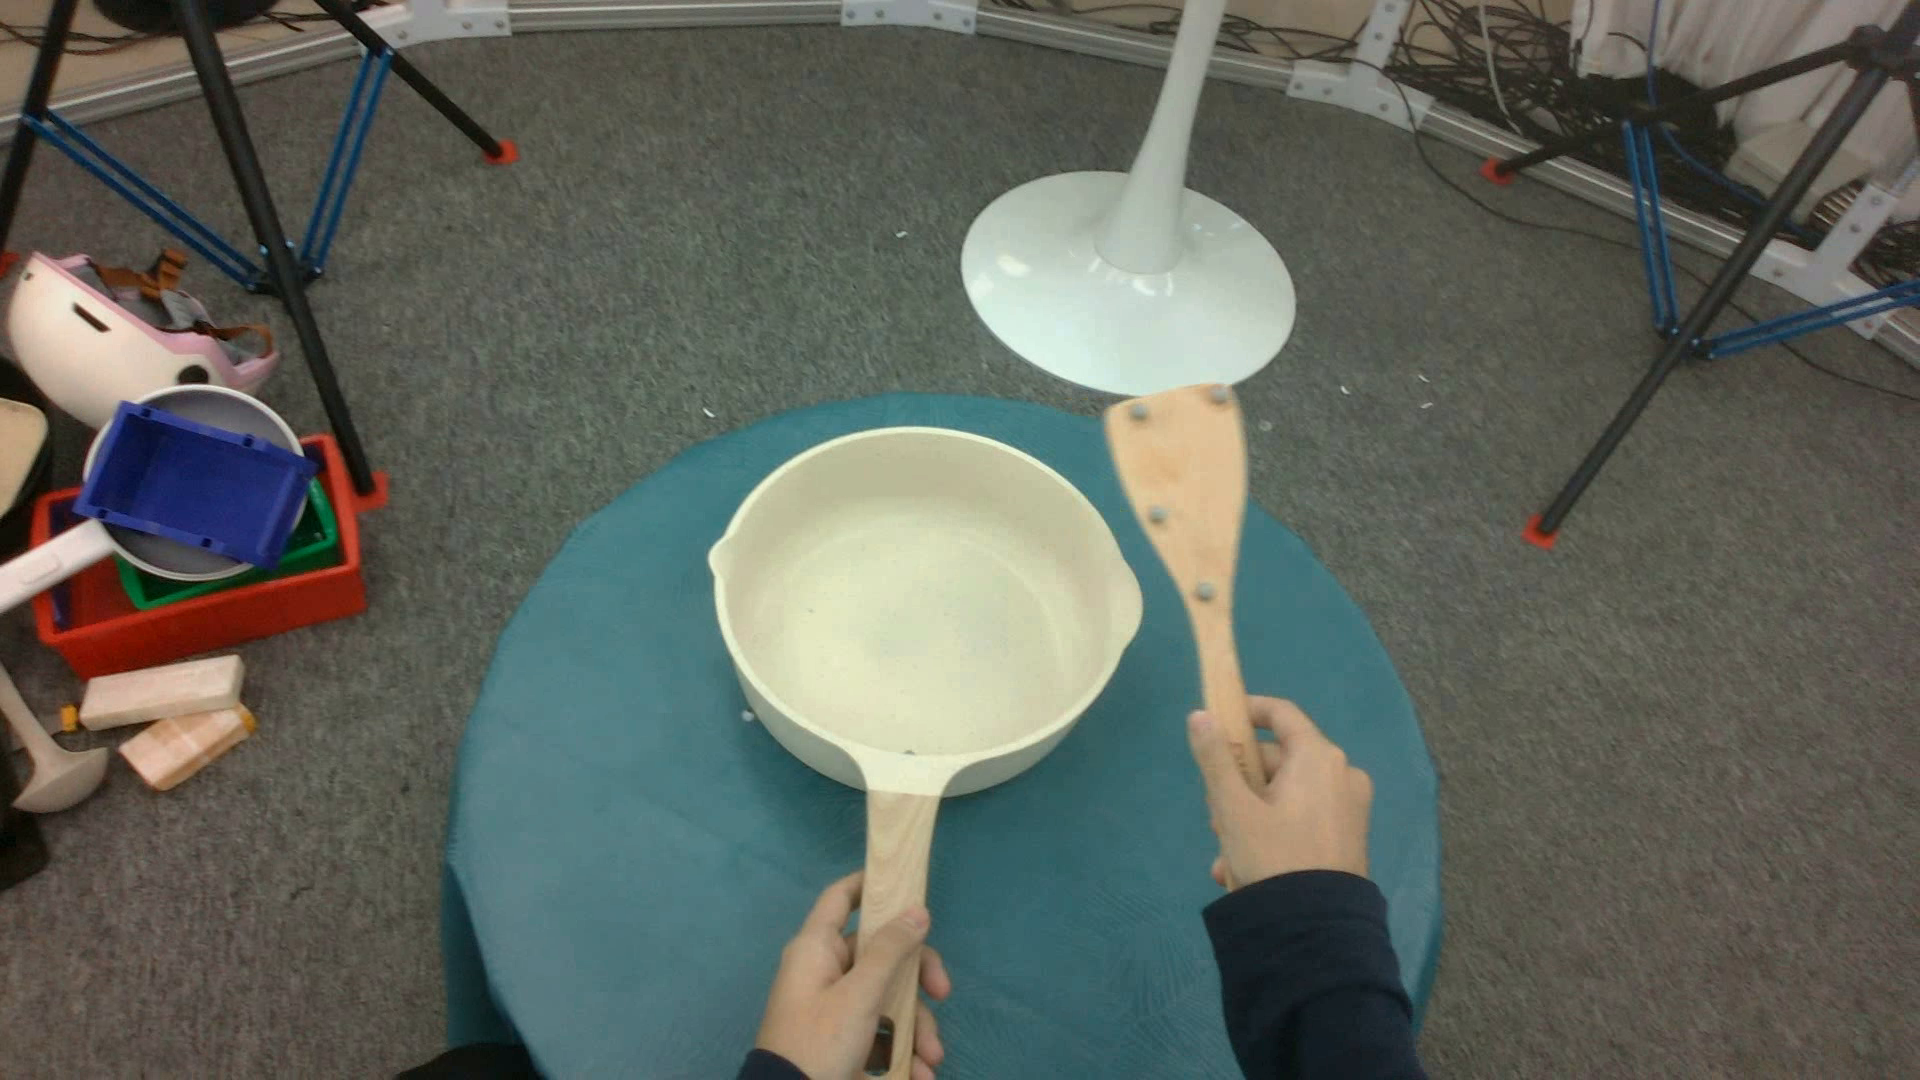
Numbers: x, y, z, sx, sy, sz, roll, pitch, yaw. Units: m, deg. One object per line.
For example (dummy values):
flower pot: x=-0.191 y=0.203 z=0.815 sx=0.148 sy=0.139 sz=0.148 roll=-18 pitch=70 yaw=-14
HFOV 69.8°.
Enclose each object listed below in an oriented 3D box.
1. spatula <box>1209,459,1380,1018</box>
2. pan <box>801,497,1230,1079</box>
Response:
spatula: x=0.183 y=0.086 z=0.724 sx=0.080 sy=0.016 sz=0.329 roll=-2 pitch=51 yaw=5
pan: x=0.021 y=0.158 z=0.801 sx=0.263 sy=0.101 sz=0.437 roll=8 pitch=49 yaw=0
